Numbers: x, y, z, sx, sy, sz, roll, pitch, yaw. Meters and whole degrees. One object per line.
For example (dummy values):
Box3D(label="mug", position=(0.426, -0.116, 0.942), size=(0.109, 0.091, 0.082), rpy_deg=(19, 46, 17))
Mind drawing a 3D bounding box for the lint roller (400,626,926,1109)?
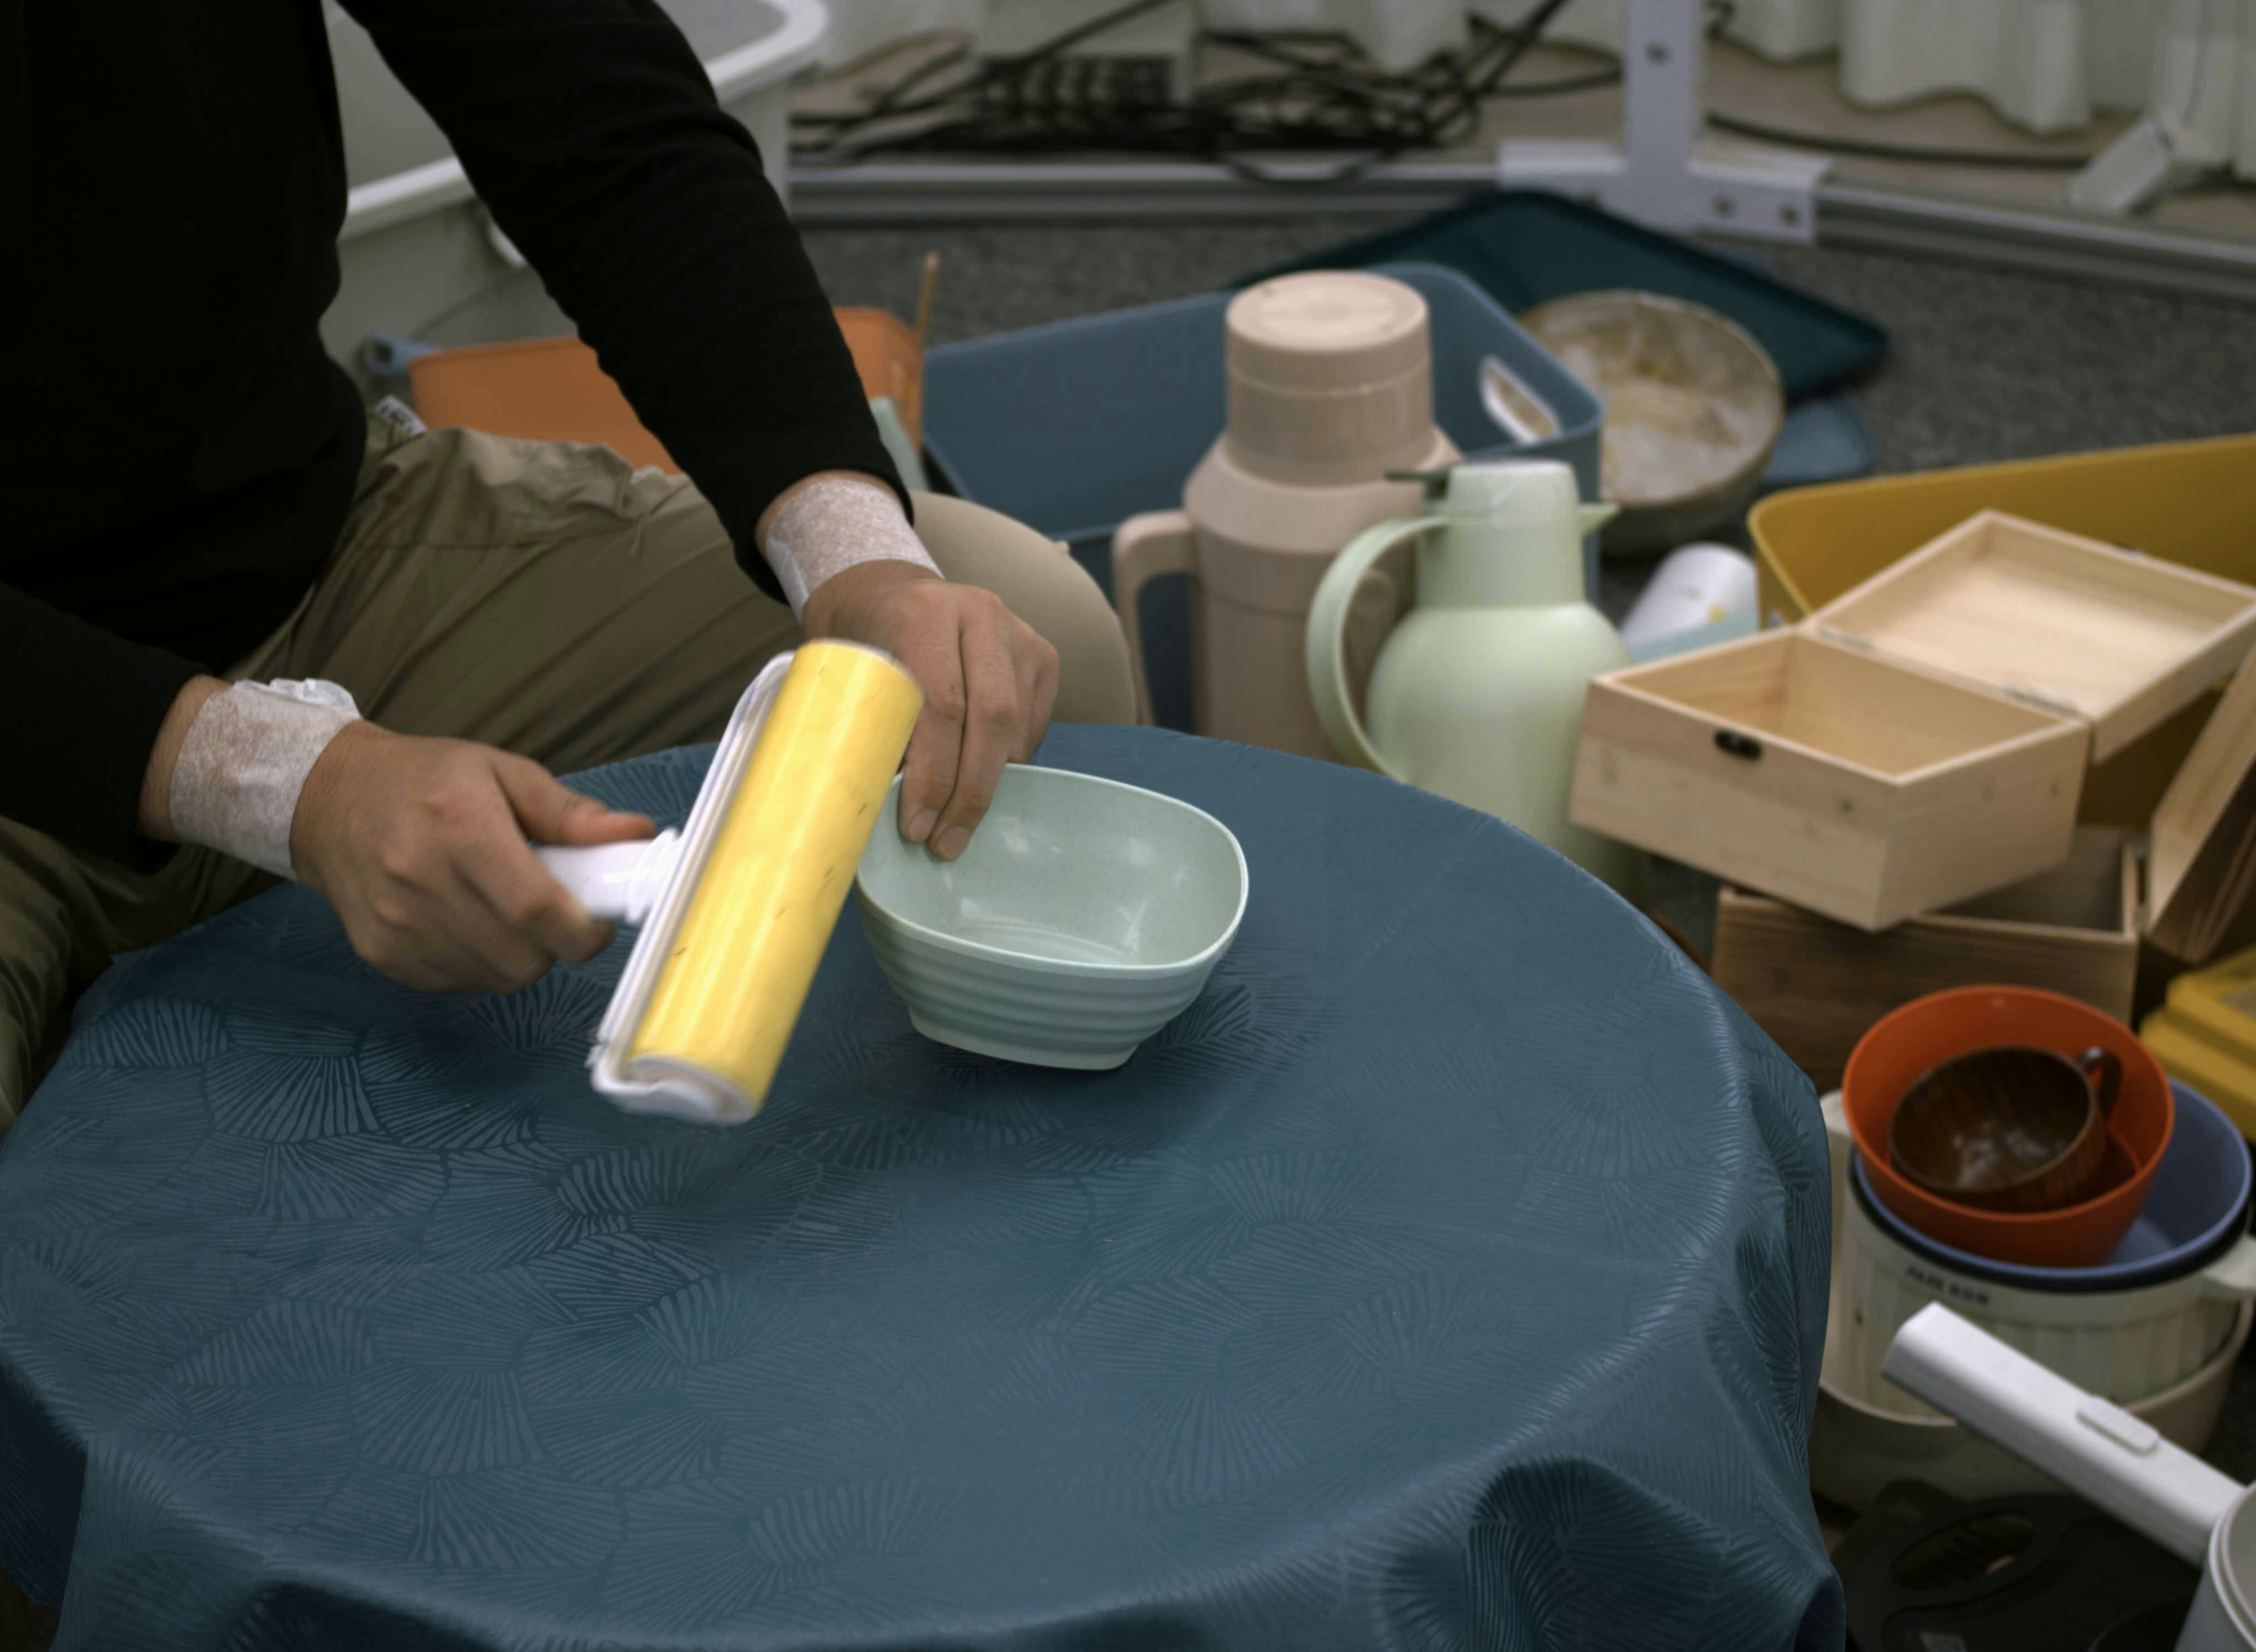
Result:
Box3D(label="lint roller", position=(-0.175, 0.012, 1.908), size=(0.190, 0.051, 0.177), rpy_deg=(2, 59, 26))

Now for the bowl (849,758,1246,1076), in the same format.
Box3D(label="bowl", position=(-0.032, 0.038, 1.949), size=(0.151, 0.058, 0.154), rpy_deg=(9, 28, -4))
